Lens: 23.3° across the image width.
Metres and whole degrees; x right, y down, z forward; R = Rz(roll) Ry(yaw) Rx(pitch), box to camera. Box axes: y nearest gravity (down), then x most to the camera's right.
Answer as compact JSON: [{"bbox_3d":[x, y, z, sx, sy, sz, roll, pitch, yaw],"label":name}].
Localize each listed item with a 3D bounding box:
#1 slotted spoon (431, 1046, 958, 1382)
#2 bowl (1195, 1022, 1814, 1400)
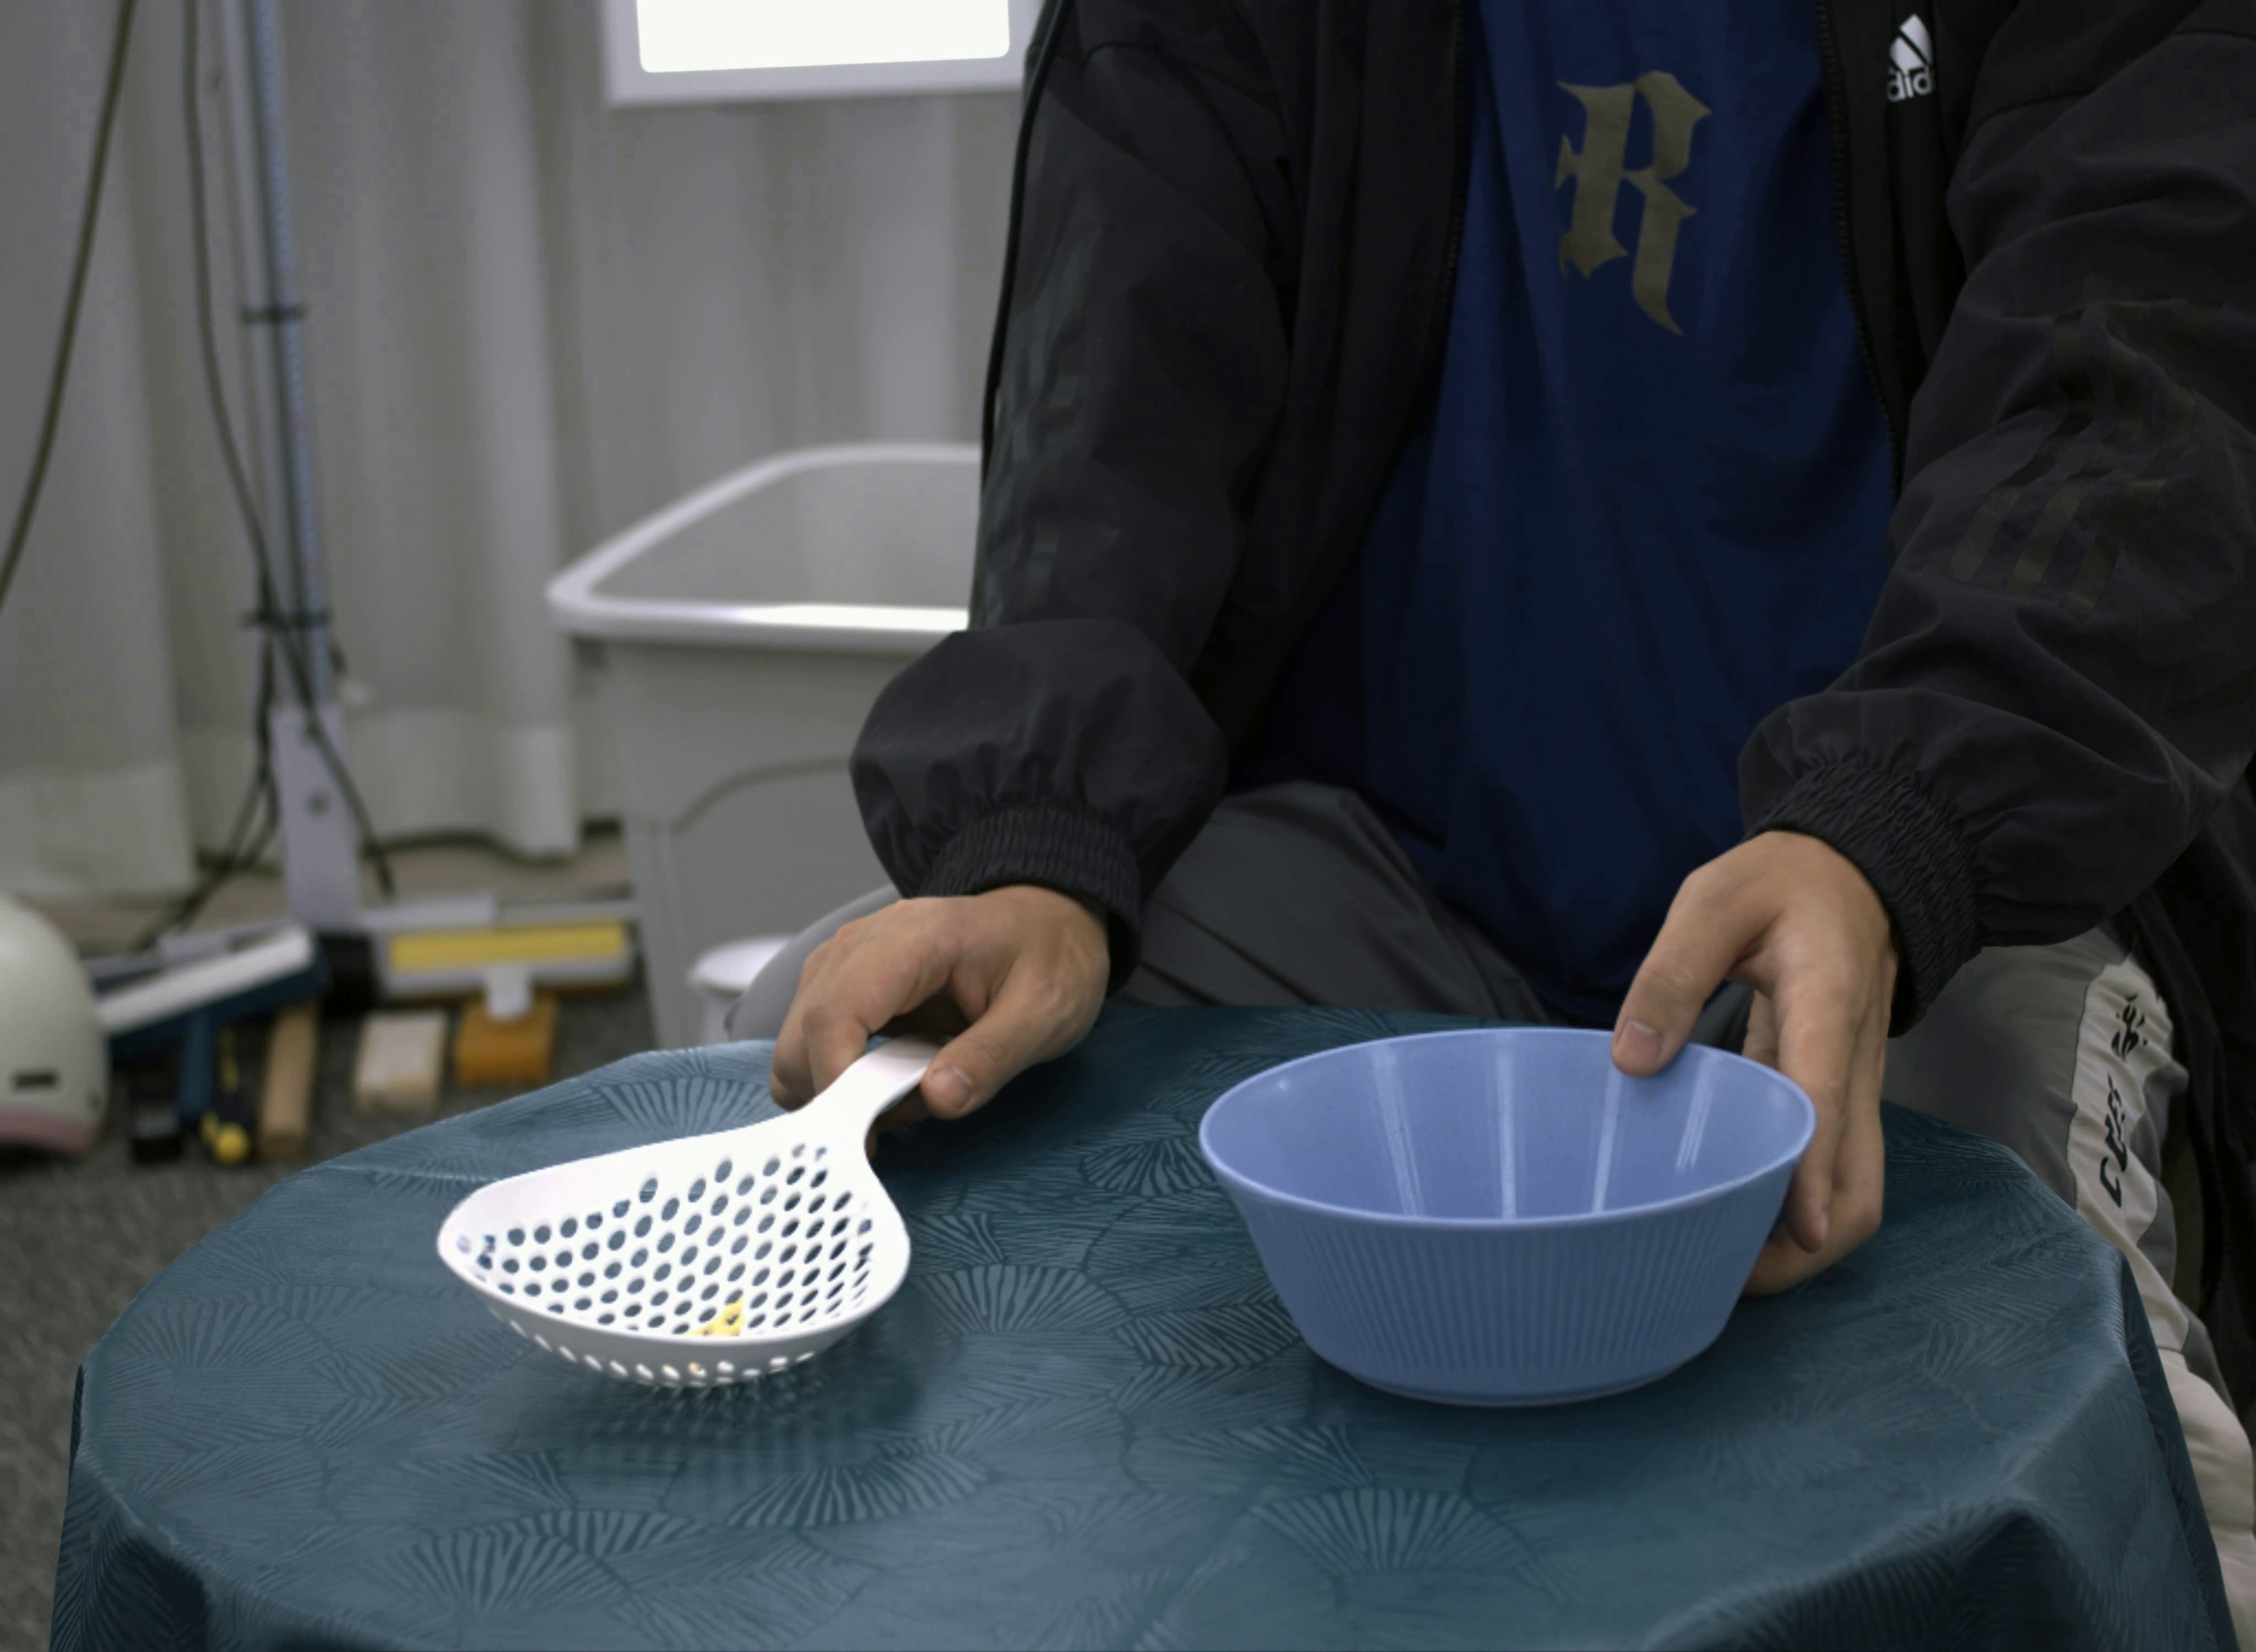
[{"bbox_3d":[-0.100,0.105,1.669,0.137,0.050,0.349,8,18,14],"label":"slotted spoon"},{"bbox_3d":[0.108,0.112,1.558,0.175,0.070,0.177,-2,15,0],"label":"bowl"}]
